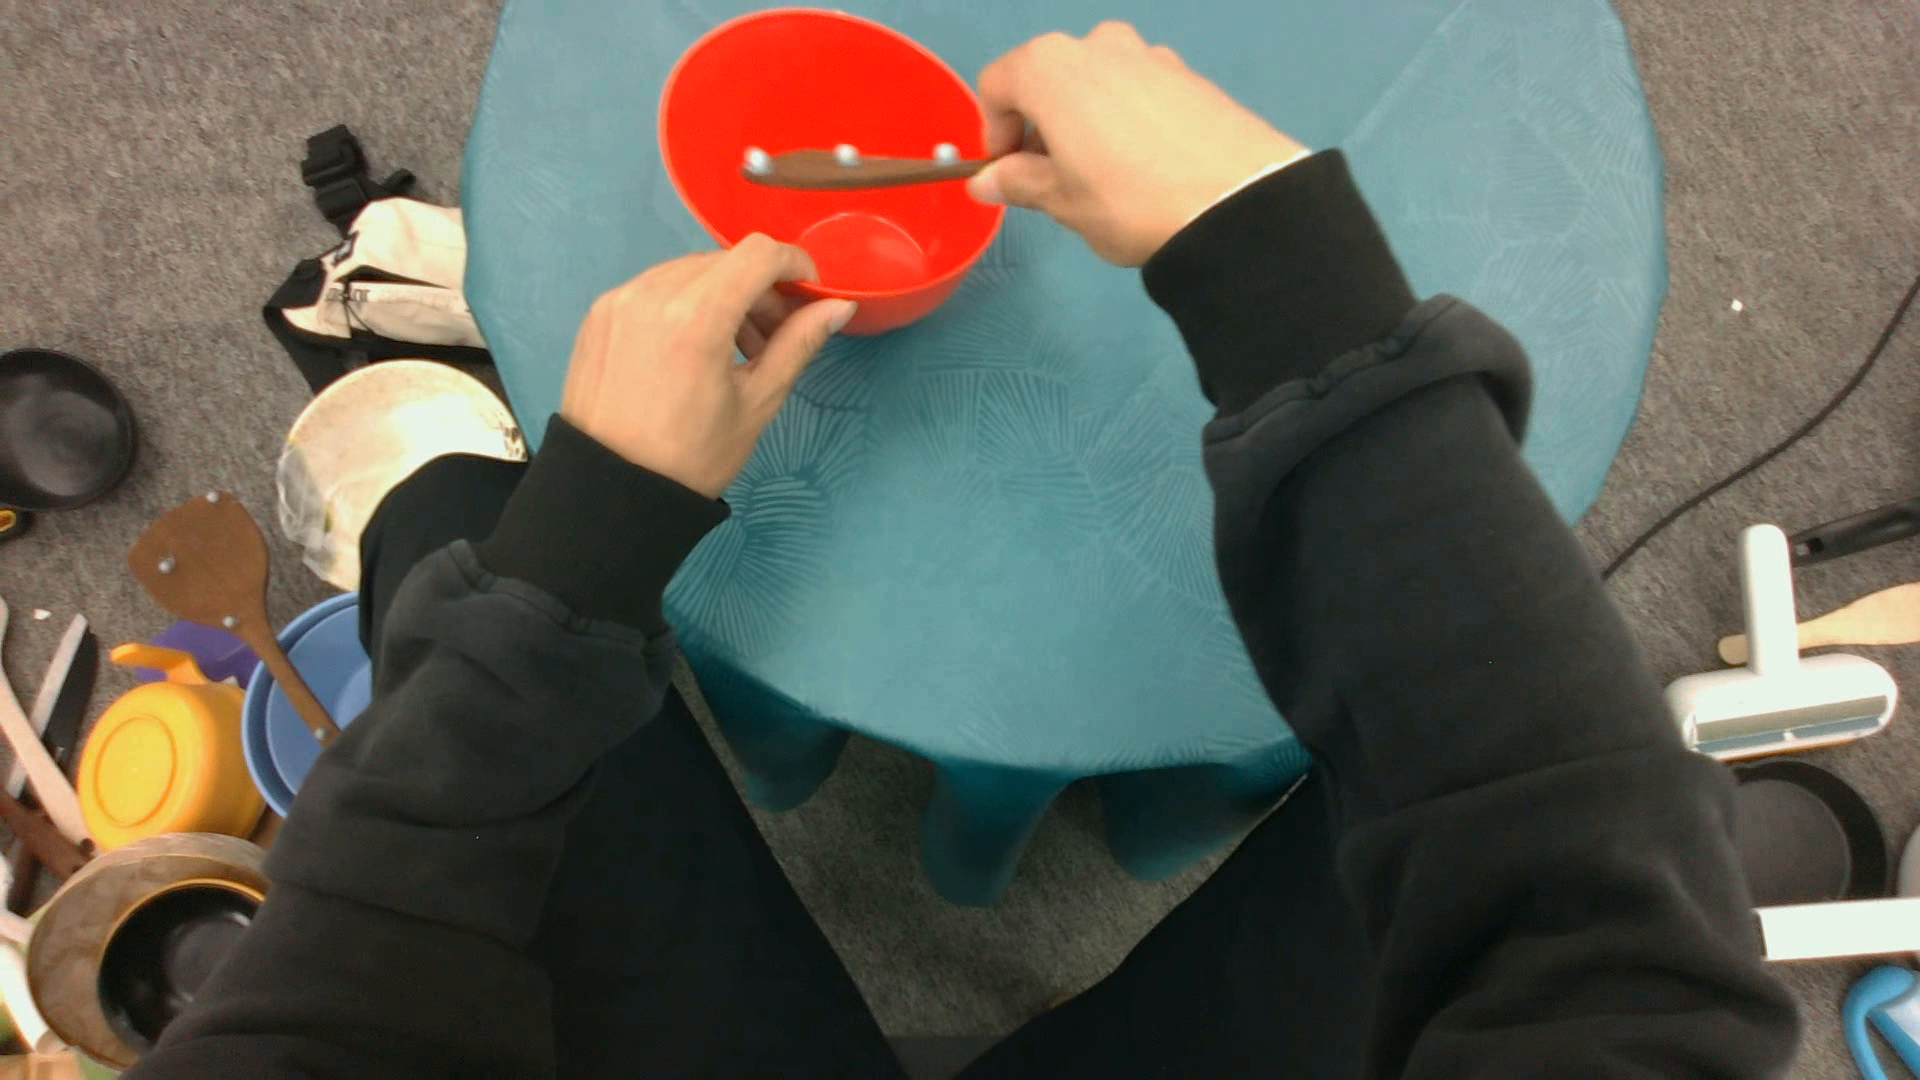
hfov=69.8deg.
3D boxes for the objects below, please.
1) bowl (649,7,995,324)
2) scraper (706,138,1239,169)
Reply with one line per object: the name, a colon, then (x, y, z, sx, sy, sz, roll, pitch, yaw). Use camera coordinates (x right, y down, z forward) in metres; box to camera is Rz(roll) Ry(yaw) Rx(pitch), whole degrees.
bowl: (-0.061, -0.155, 0.625, 0.148, 0.104, 0.148, 3, 64, -6)
scraper: (0.004, -0.153, 0.548, 0.211, 0.076, 0.011, 6, 108, 16)
